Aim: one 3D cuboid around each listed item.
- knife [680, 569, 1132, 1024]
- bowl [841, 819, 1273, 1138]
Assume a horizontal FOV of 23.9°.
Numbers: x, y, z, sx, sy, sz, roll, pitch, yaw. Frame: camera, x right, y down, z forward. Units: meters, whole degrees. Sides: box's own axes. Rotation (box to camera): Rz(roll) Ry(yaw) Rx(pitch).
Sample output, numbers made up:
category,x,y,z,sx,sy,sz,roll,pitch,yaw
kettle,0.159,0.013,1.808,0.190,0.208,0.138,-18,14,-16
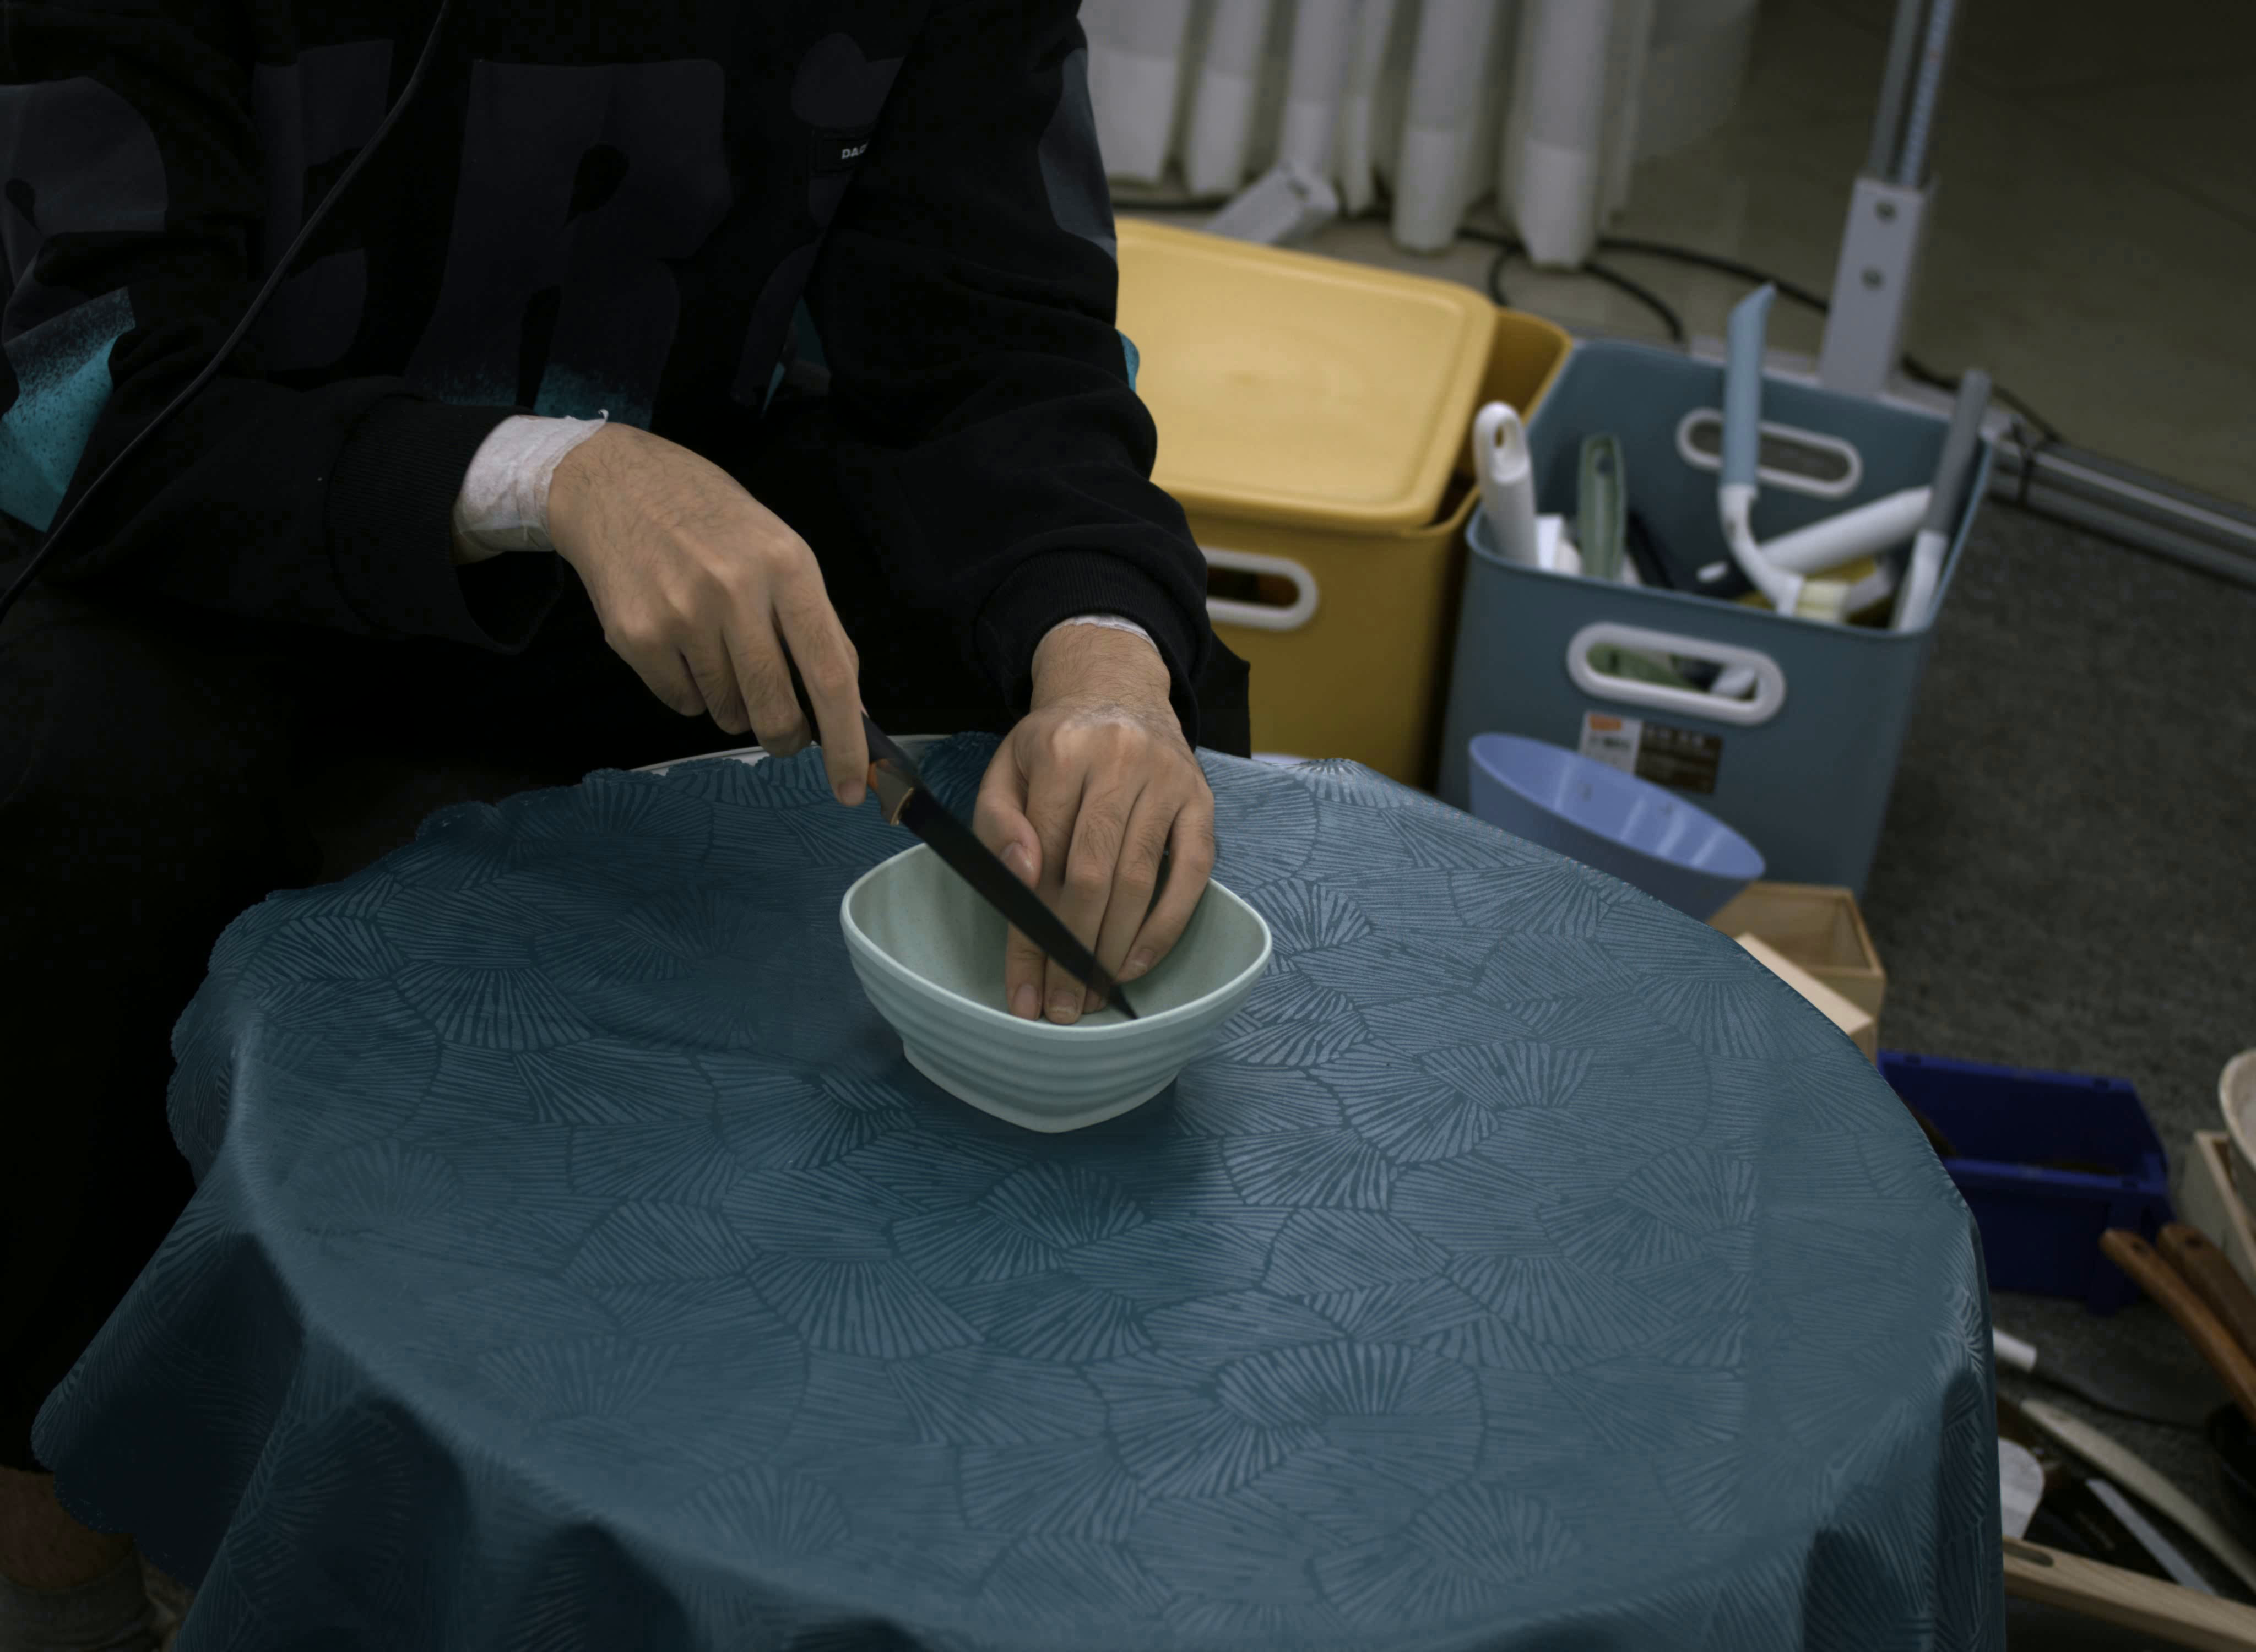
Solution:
category,x,y,z,sx,sy,sz,roll,pitch,yaw
knife,-0.075,-0.008,1.856,0.226,0.026,0.017,44,41,7
bowl,-0.027,0.059,1.862,0.151,0.058,0.152,4,28,-3
